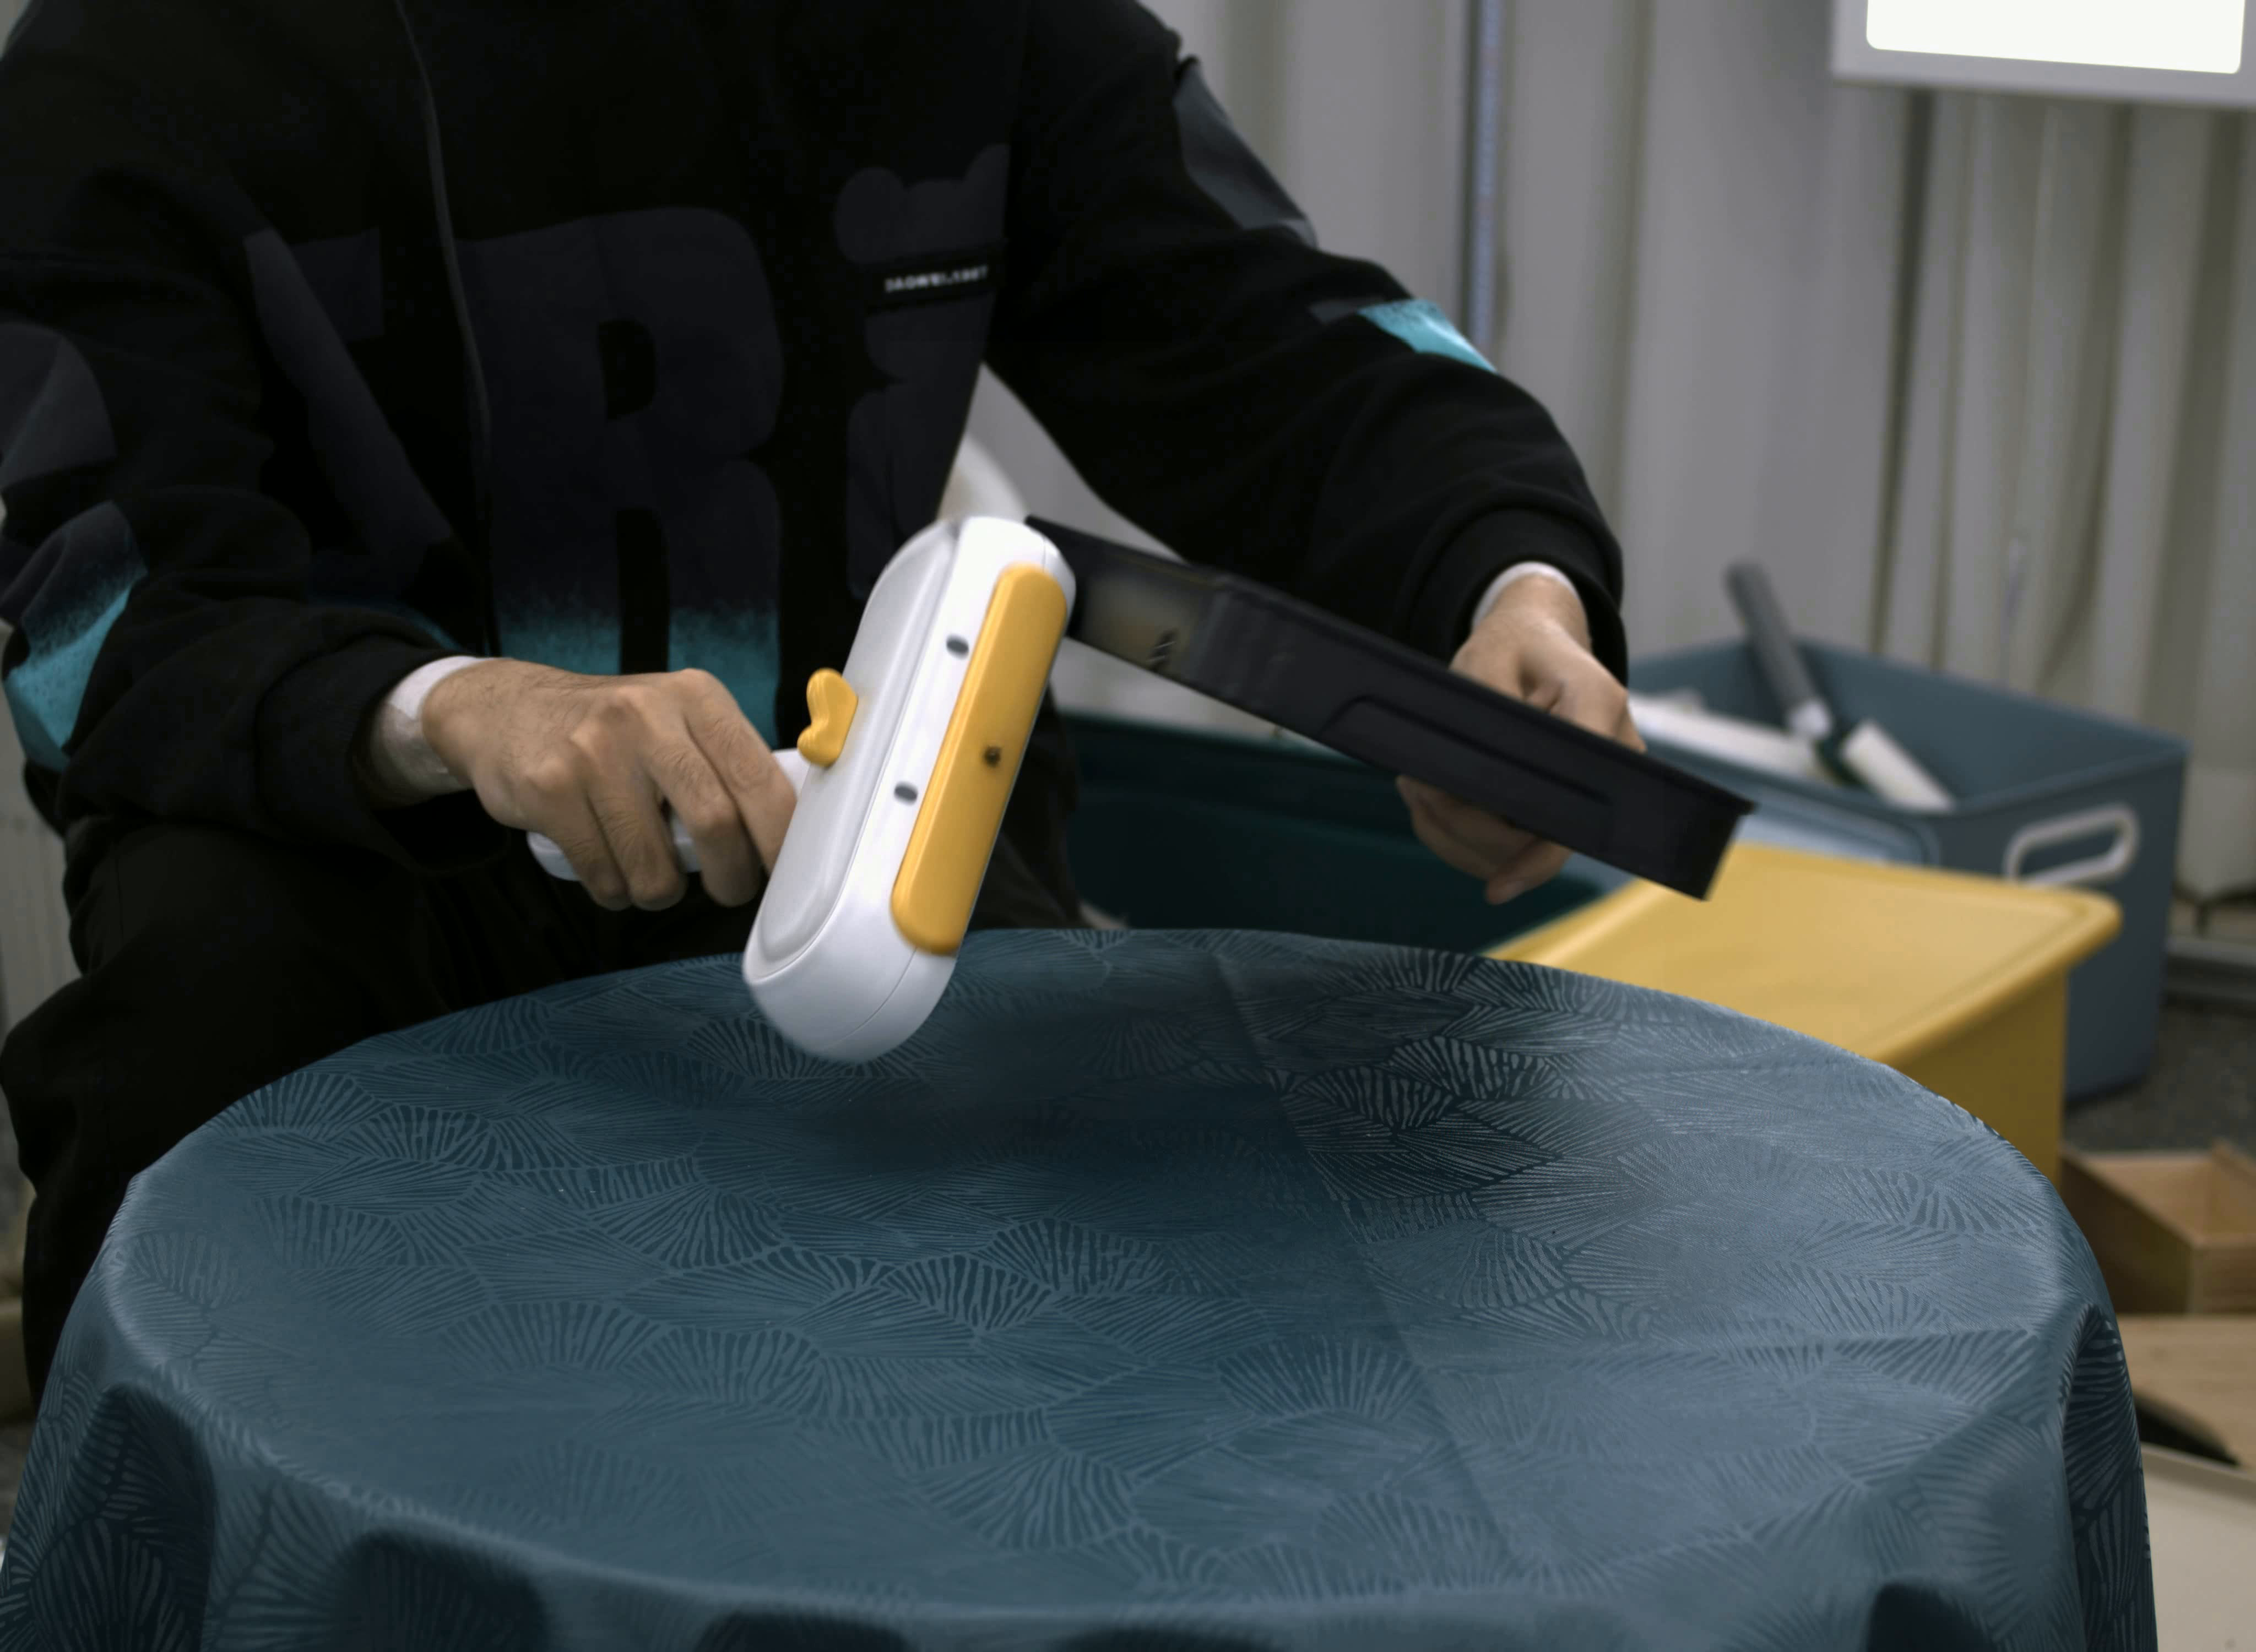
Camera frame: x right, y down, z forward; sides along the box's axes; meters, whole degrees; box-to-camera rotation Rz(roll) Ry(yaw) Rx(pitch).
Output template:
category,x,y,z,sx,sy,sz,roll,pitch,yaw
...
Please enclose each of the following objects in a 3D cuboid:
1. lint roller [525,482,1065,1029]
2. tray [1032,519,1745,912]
category,x,y,z,sx,sy,sz,roll,pitch,yaw
lint roller,-0.112,-0.010,1.692,0.191,0.192,0.075,-22,-44,39
tray,0.067,-0.040,1.695,0.185,0.037,0.315,22,2,-15
